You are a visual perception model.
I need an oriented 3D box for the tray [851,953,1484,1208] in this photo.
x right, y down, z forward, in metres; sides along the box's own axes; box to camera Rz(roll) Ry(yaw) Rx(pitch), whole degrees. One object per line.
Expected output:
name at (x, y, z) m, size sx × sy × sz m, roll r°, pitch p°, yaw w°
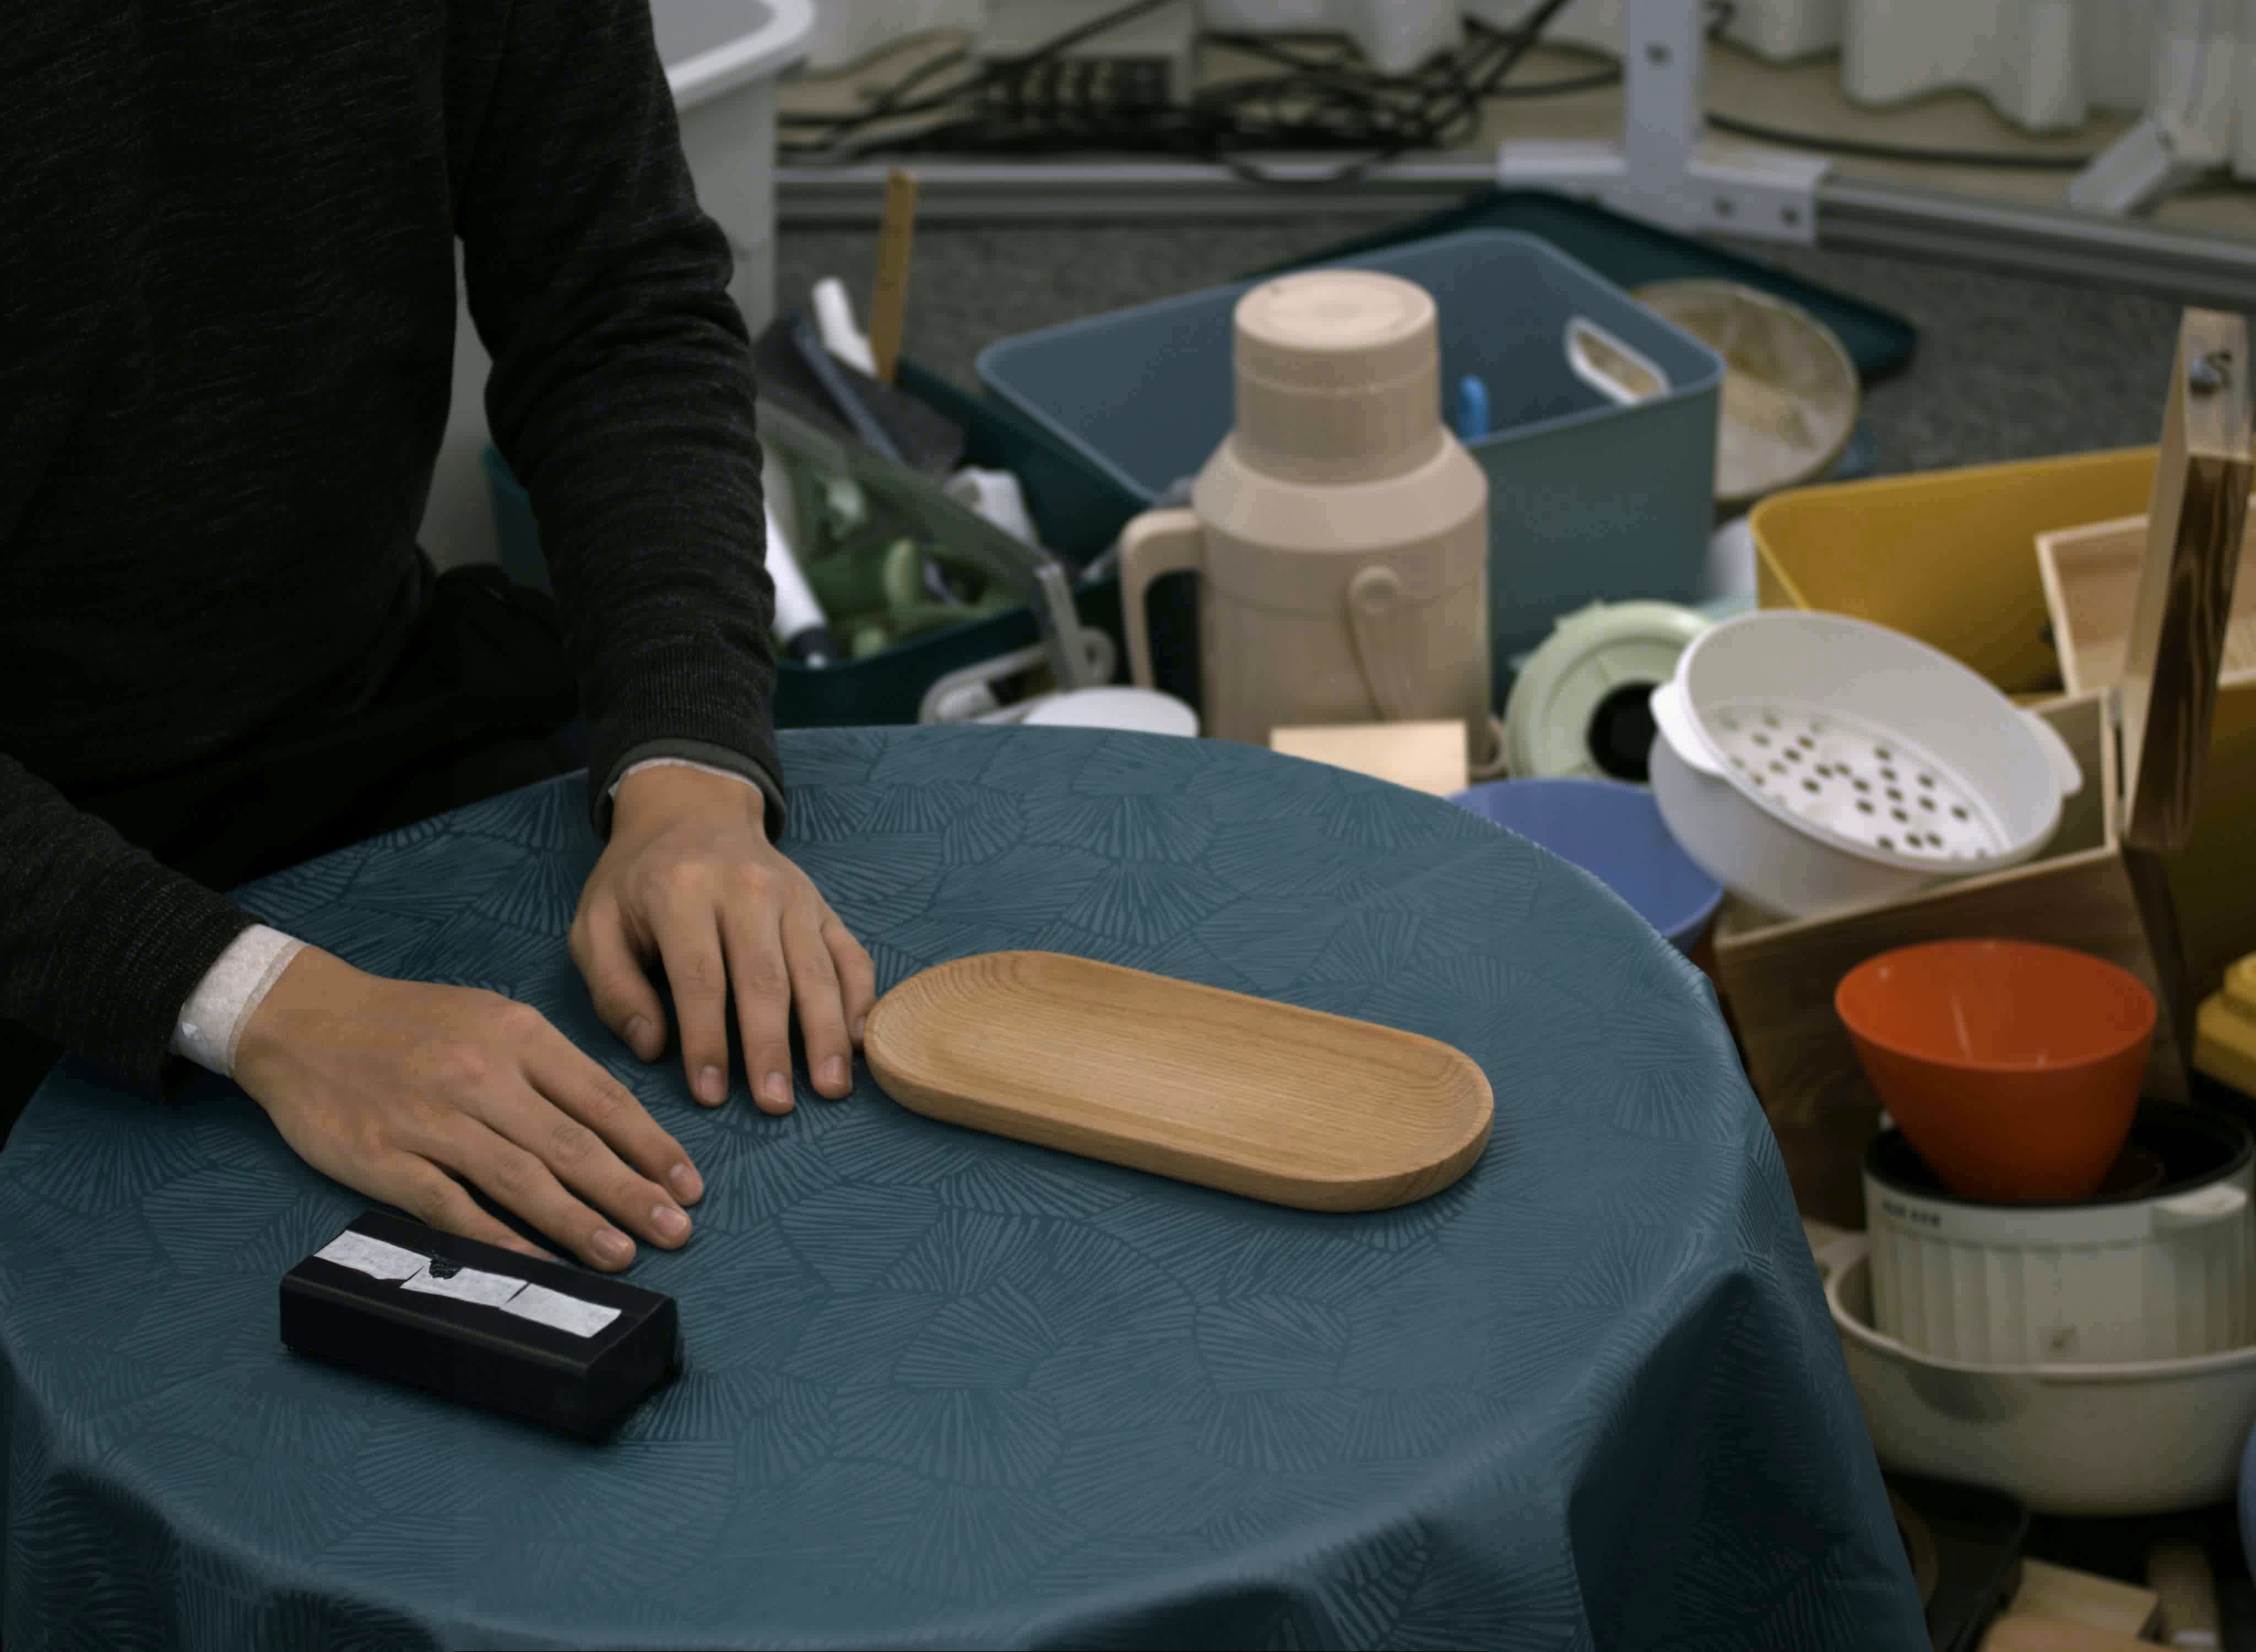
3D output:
tray at (0.012, 0.086, 1.911) m, size 0.229 × 0.020 × 0.103 m, roll 10°, pitch 29°, yaw 27°

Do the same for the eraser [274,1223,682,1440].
eraser at (-0.205, 0.160, 1.778) m, size 0.125 × 0.030 × 0.054 m, roll 11°, pitch 28°, yaw 28°
